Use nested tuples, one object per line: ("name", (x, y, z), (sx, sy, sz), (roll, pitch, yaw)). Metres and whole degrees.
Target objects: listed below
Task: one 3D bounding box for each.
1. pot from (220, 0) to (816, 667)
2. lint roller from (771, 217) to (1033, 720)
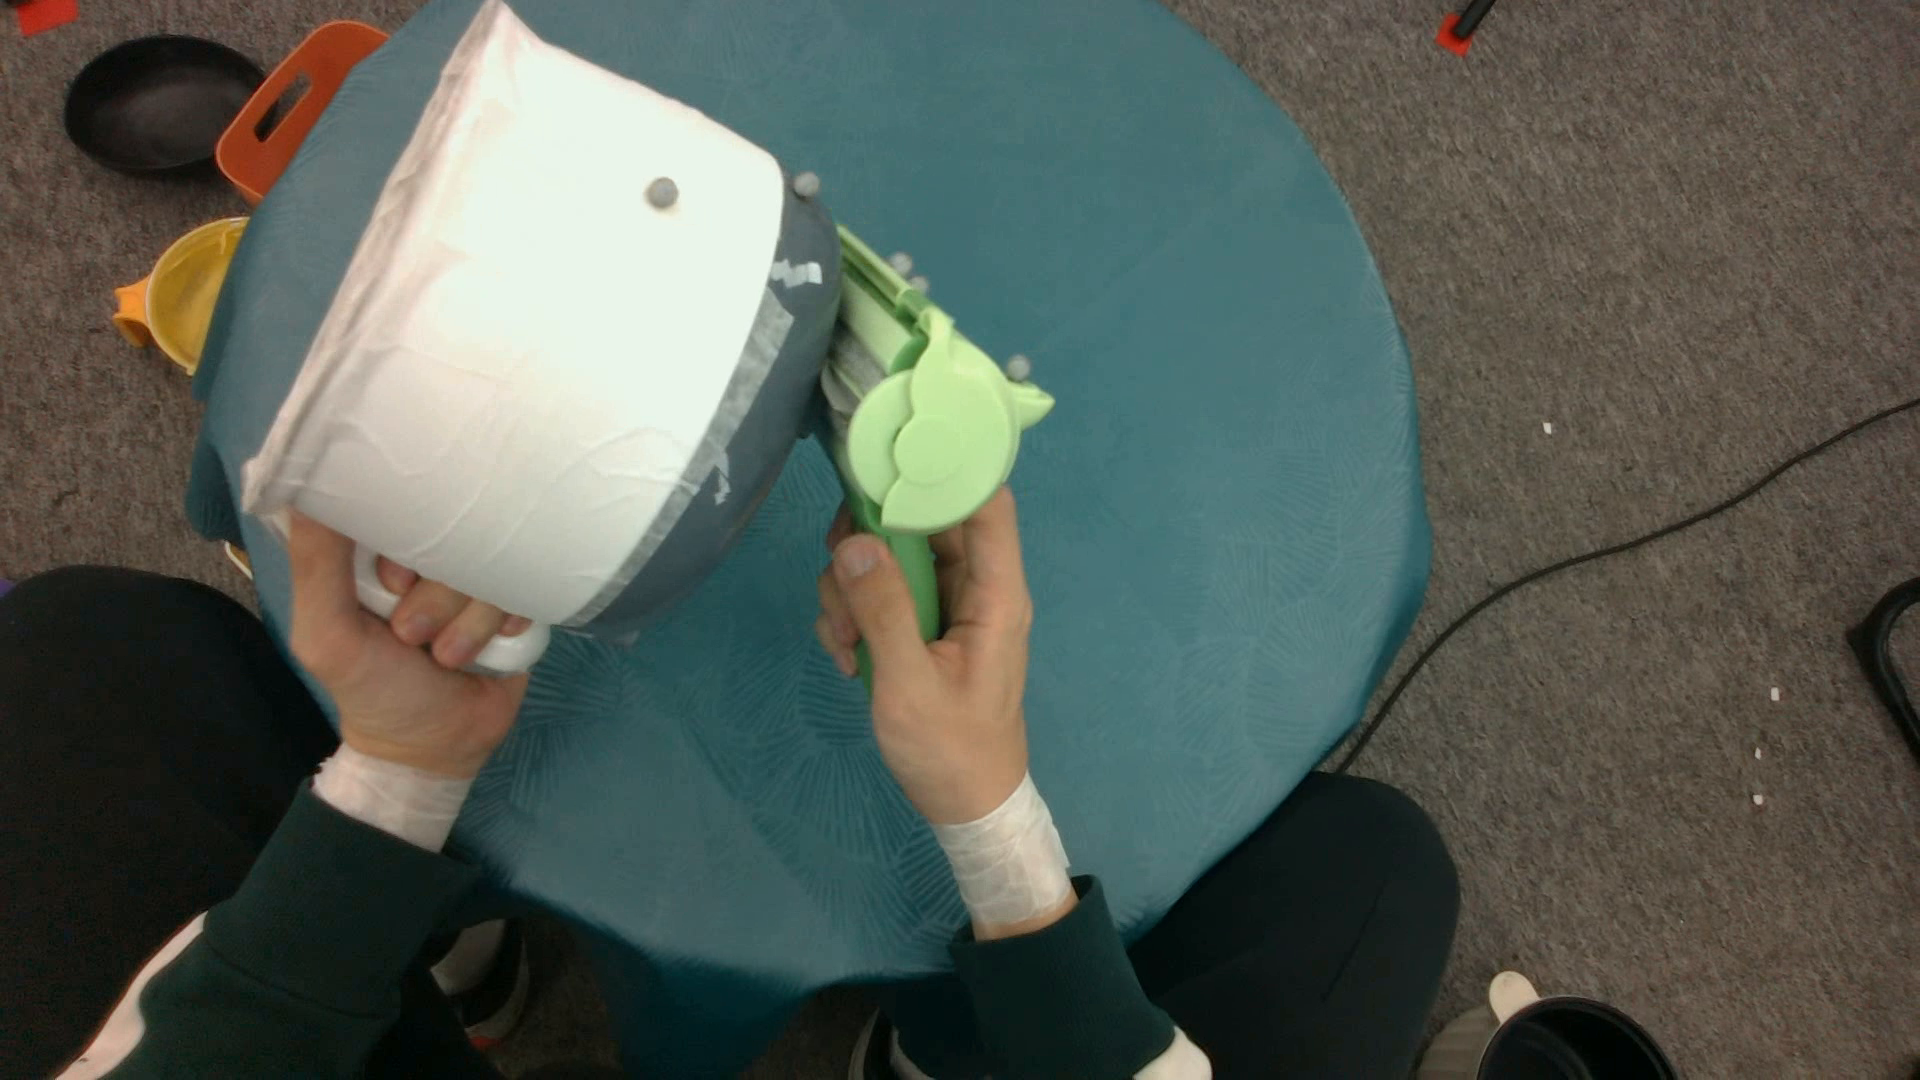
("pot", (-0.157, -0.050, 0.471), (0.136, 0.232, 0.179), (25, 30, -28))
("lint roller", (-0.022, -0.021, 0.510), (0.082, 0.199, 0.183), (-23, 116, -12))
